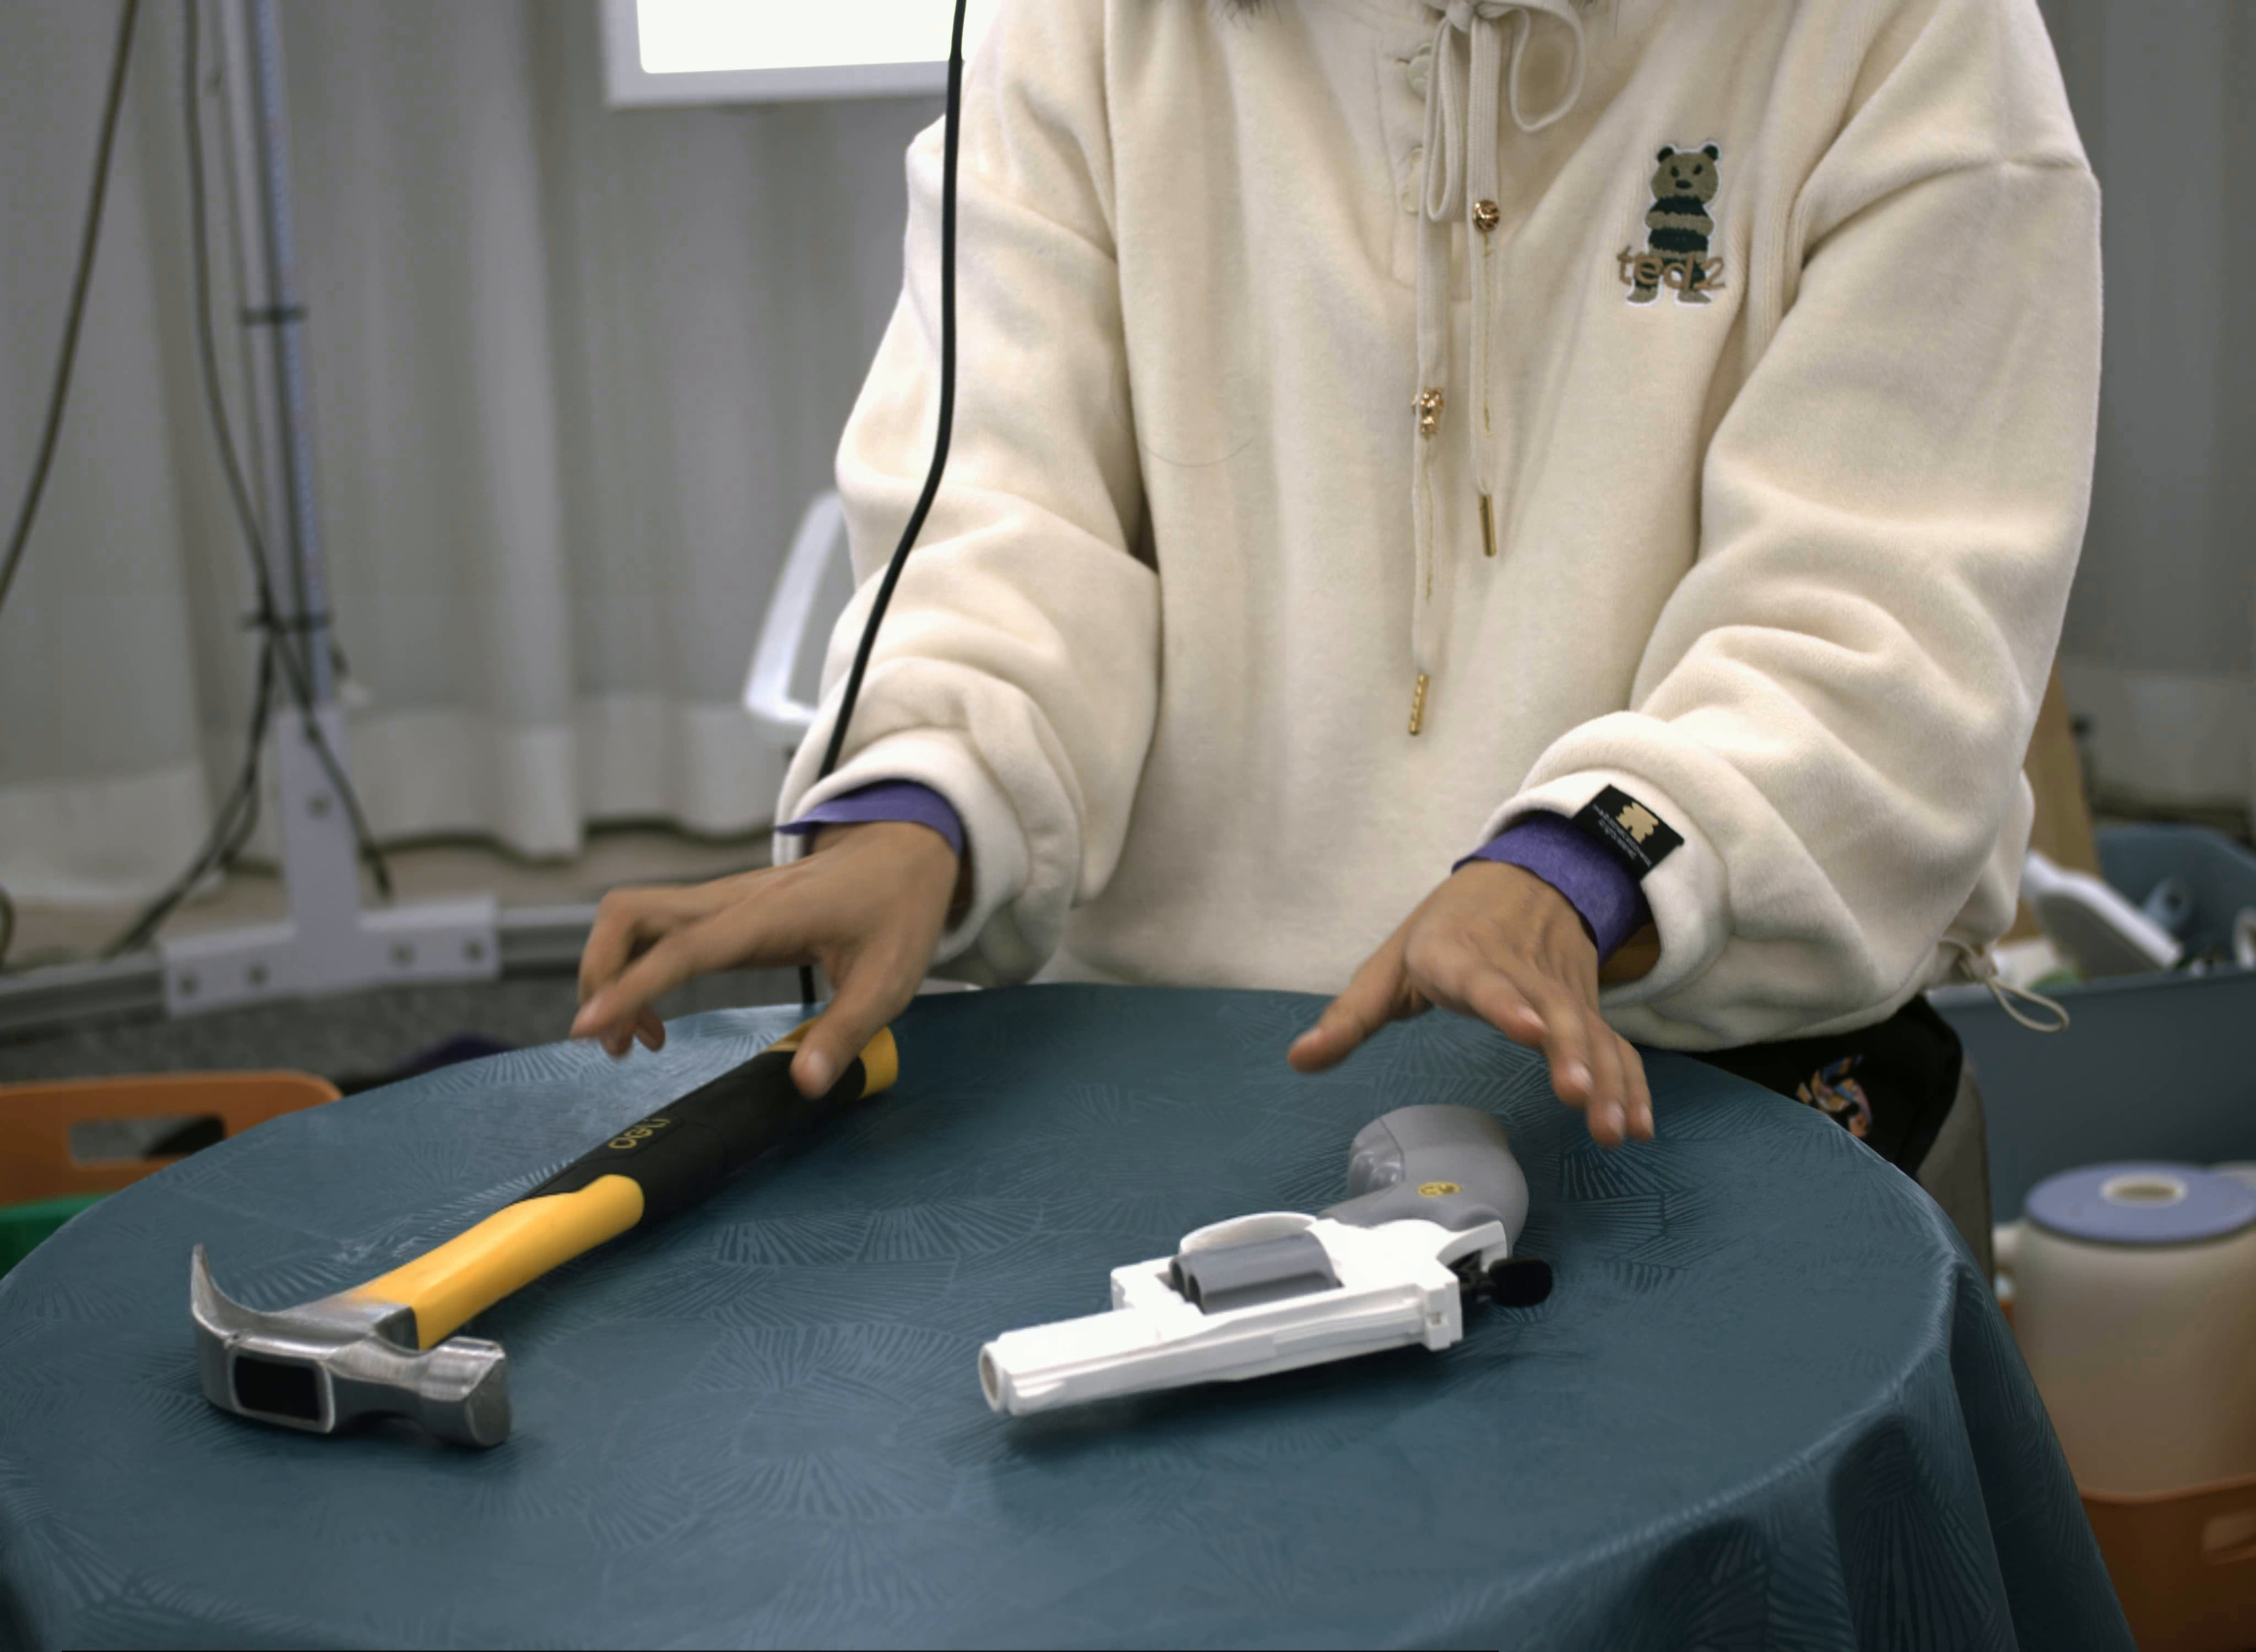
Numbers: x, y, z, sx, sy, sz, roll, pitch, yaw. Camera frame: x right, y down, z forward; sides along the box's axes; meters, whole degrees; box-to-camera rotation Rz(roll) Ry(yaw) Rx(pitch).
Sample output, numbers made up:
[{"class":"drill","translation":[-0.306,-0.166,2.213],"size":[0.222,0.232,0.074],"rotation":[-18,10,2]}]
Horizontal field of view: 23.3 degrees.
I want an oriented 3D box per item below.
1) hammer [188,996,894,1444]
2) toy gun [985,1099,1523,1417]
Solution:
[{"class":"hammer","translation":[-0.166,0.113,1.683],"size":[0.131,0.032,0.339],"rotation":[2,17,27]},{"class":"toy gun","translation":[0.040,0.126,1.585],"size":[0.208,0.038,0.143],"rotation":[-9,17,-21]}]
